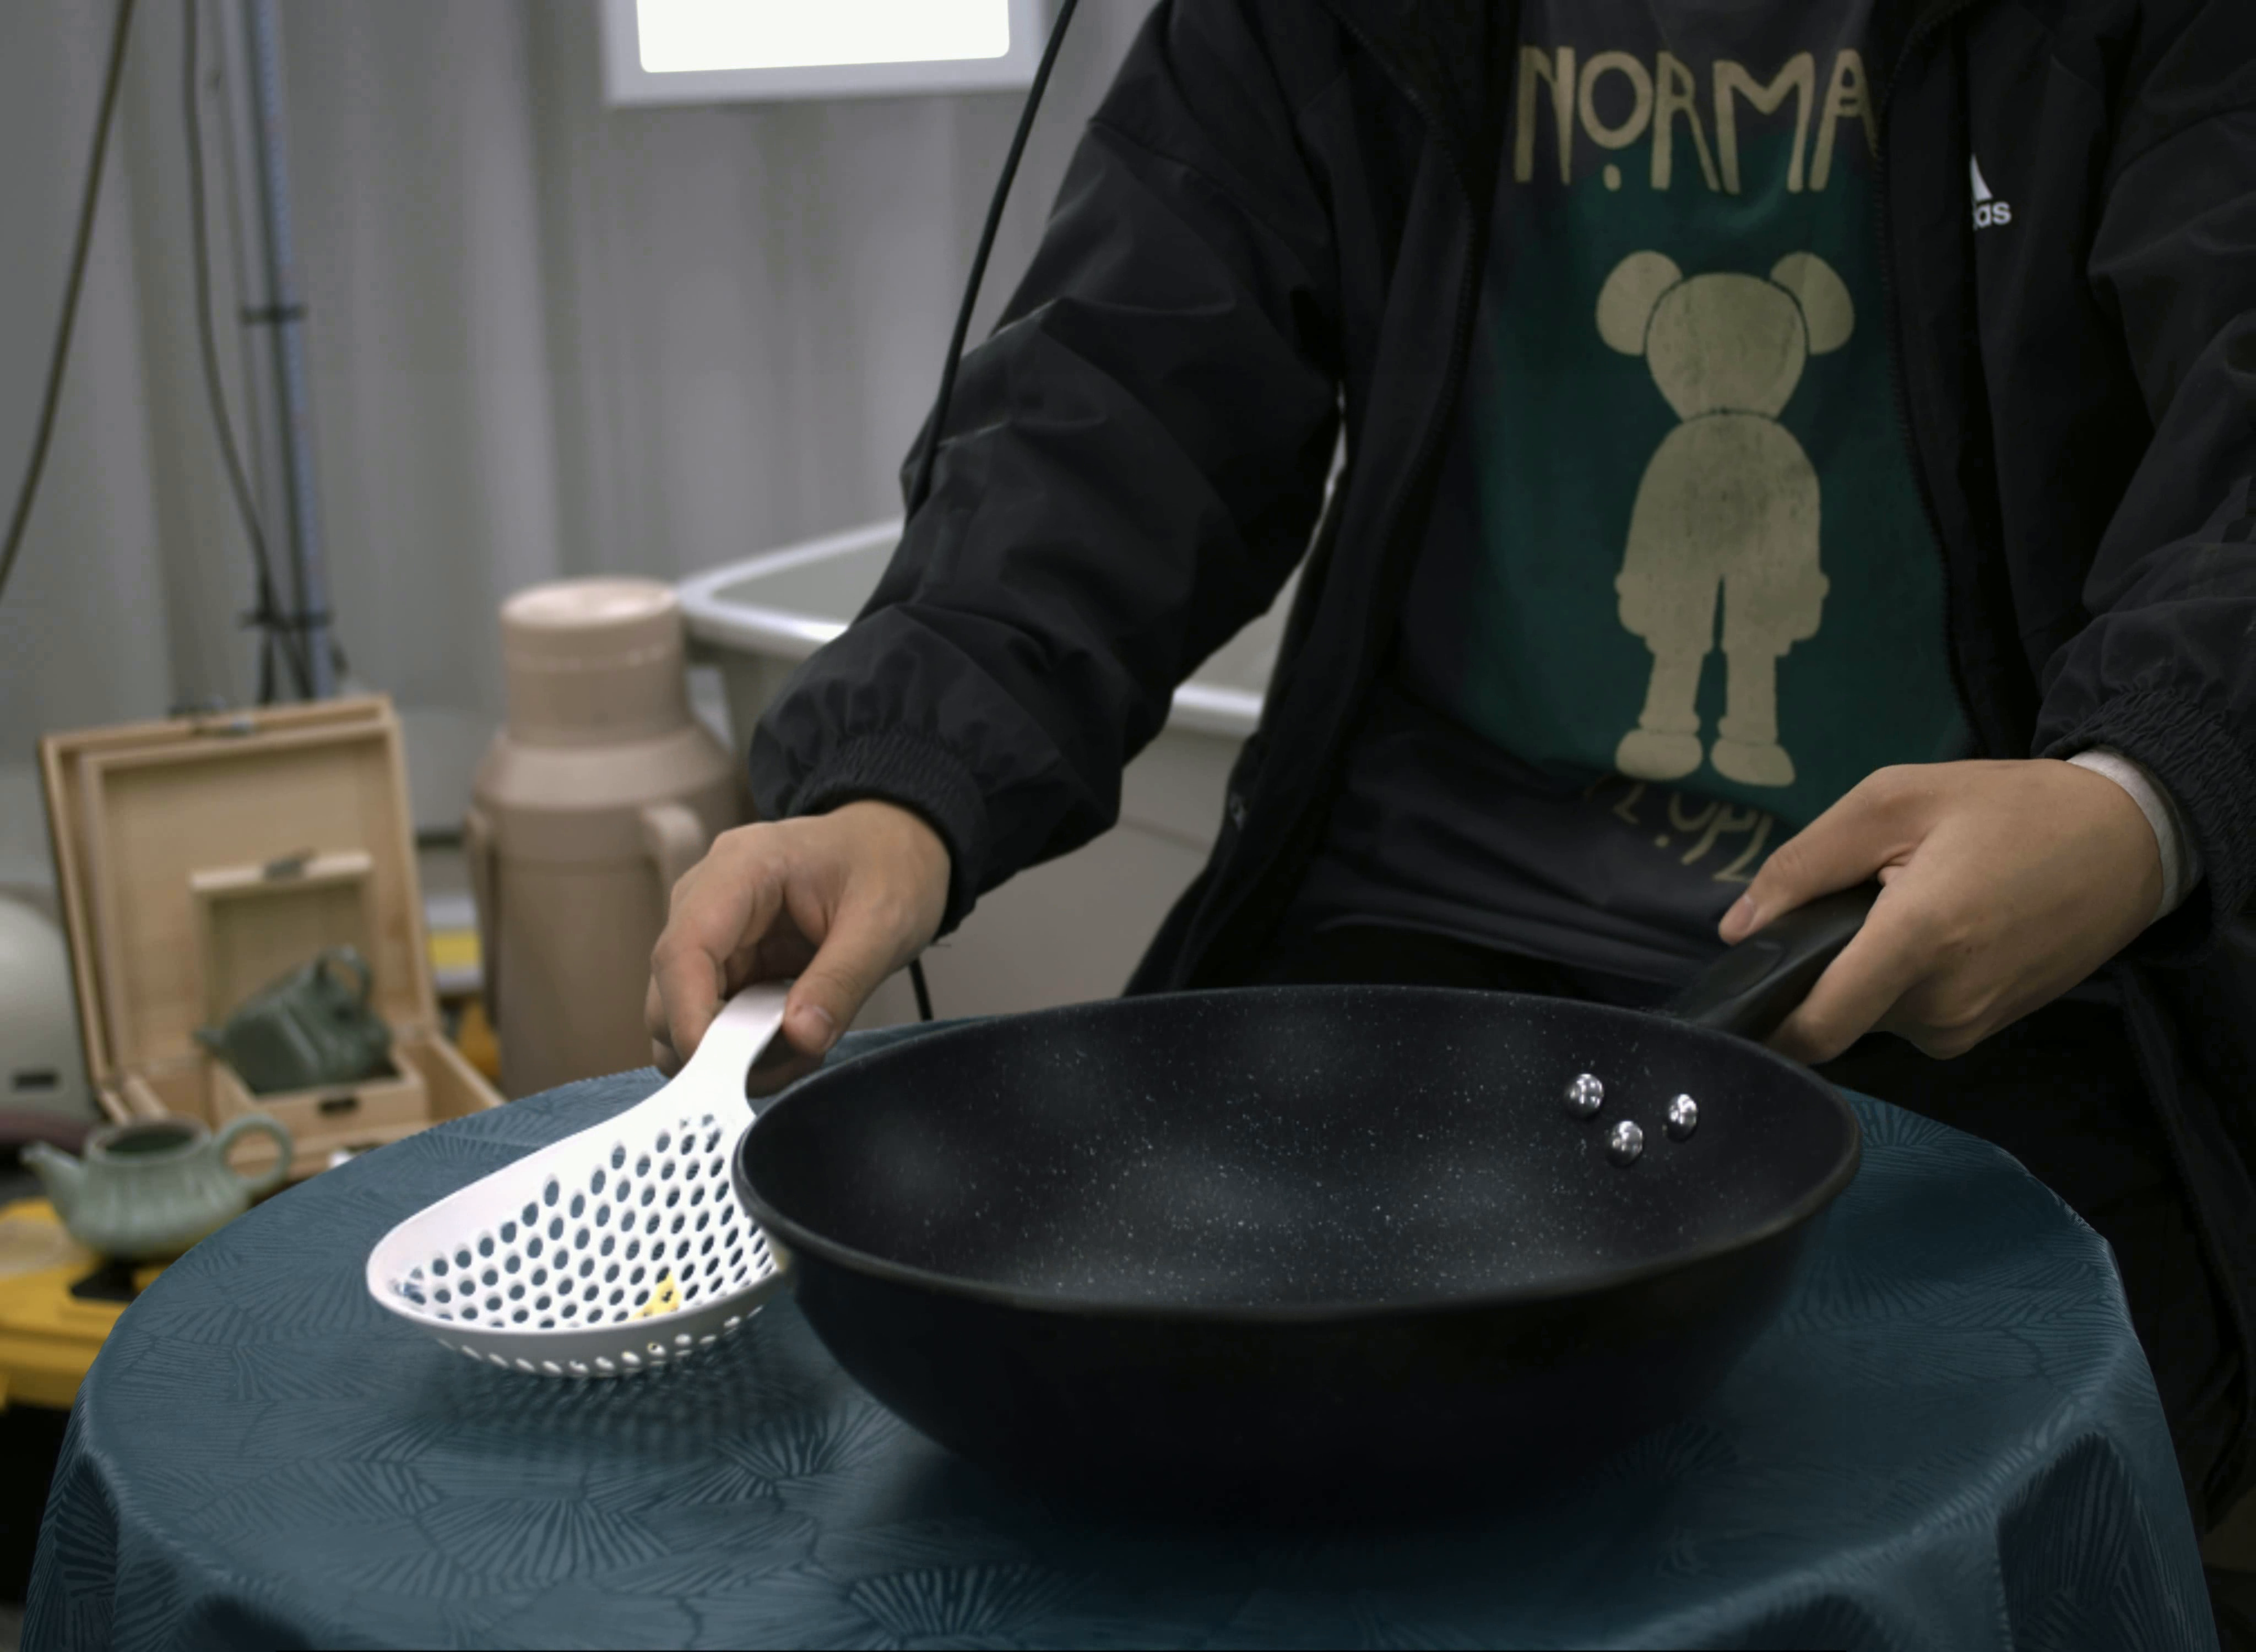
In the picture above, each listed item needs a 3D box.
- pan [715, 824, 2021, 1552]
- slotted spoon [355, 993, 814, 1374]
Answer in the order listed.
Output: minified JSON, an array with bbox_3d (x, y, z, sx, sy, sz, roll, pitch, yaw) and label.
[{"bbox_3d":[0.102,0.100,1.548,0.312,0.111,0.476,12,20,44],"label":"pan"},{"bbox_3d":[-0.134,0.096,1.690,0.136,0.050,0.350,-4,20,11],"label":"slotted spoon"}]
